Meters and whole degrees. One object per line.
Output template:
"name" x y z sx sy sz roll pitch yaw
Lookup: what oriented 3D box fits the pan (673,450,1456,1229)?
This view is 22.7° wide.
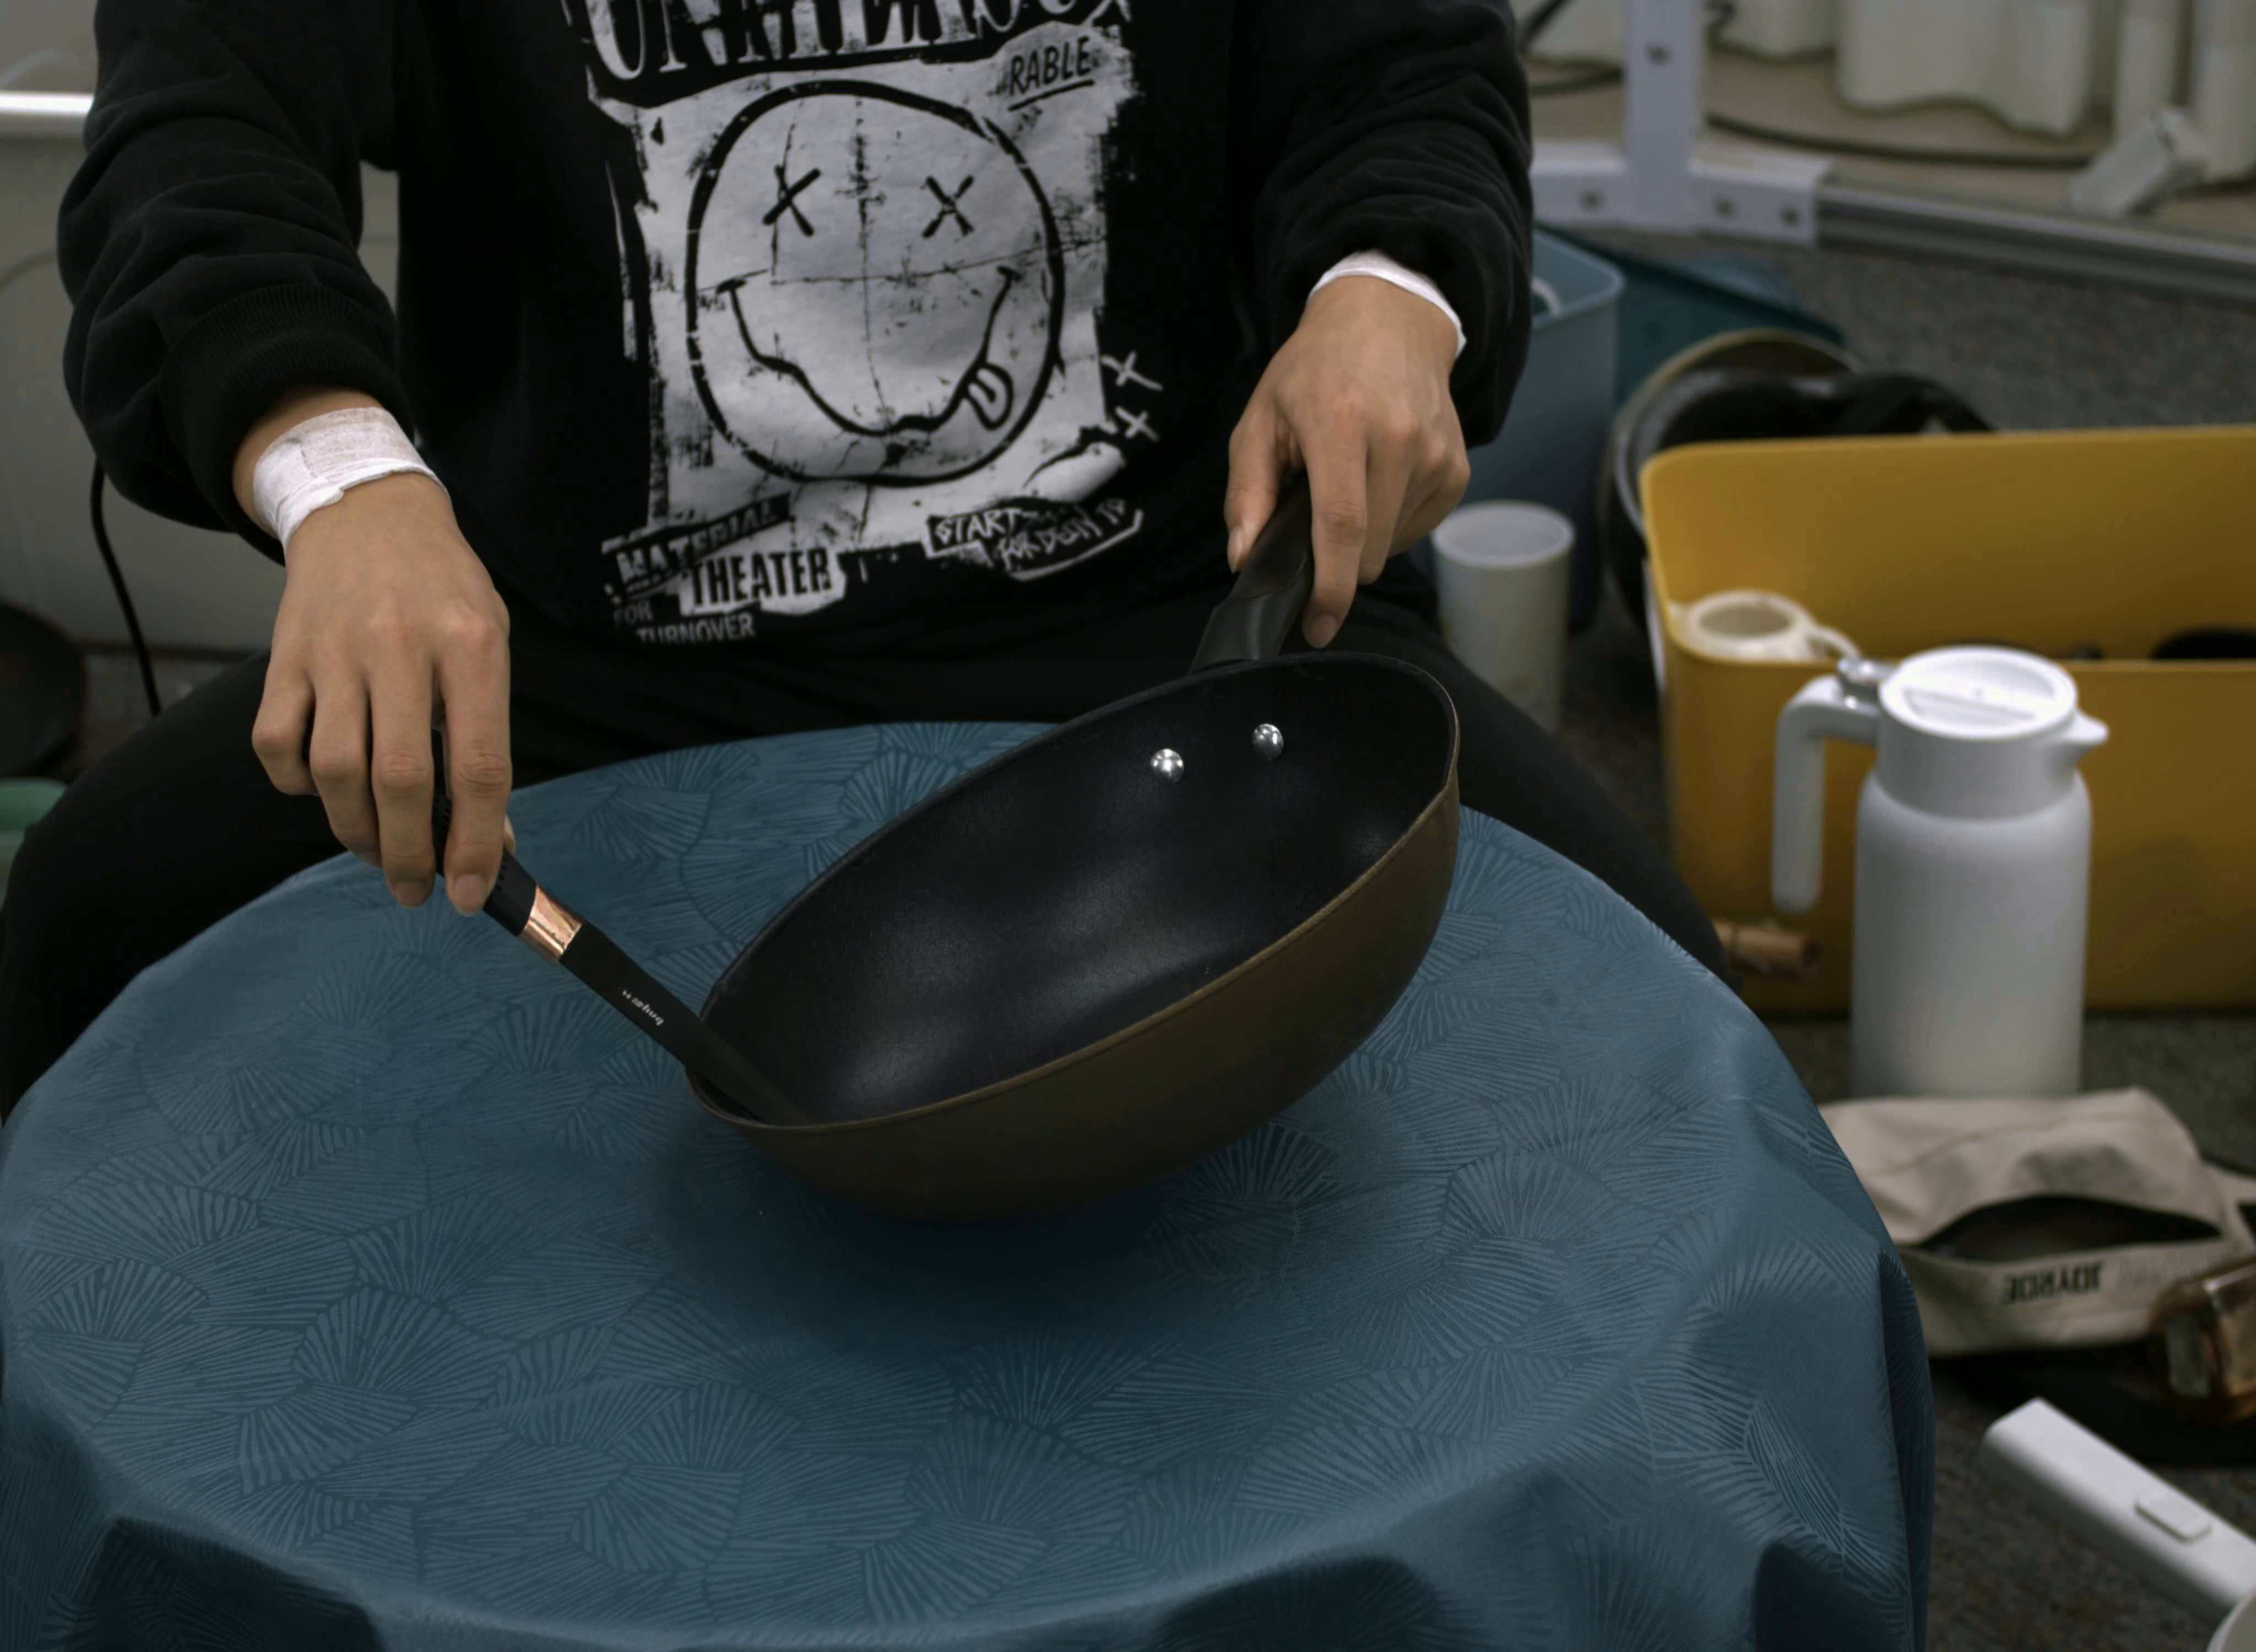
"pan" 0.024 0.007 1.927 0.284 0.086 0.472 -15 22 29

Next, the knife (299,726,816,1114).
"knife" -0.181 0.040 1.846 0.225 0.017 0.026 39 27 -3
